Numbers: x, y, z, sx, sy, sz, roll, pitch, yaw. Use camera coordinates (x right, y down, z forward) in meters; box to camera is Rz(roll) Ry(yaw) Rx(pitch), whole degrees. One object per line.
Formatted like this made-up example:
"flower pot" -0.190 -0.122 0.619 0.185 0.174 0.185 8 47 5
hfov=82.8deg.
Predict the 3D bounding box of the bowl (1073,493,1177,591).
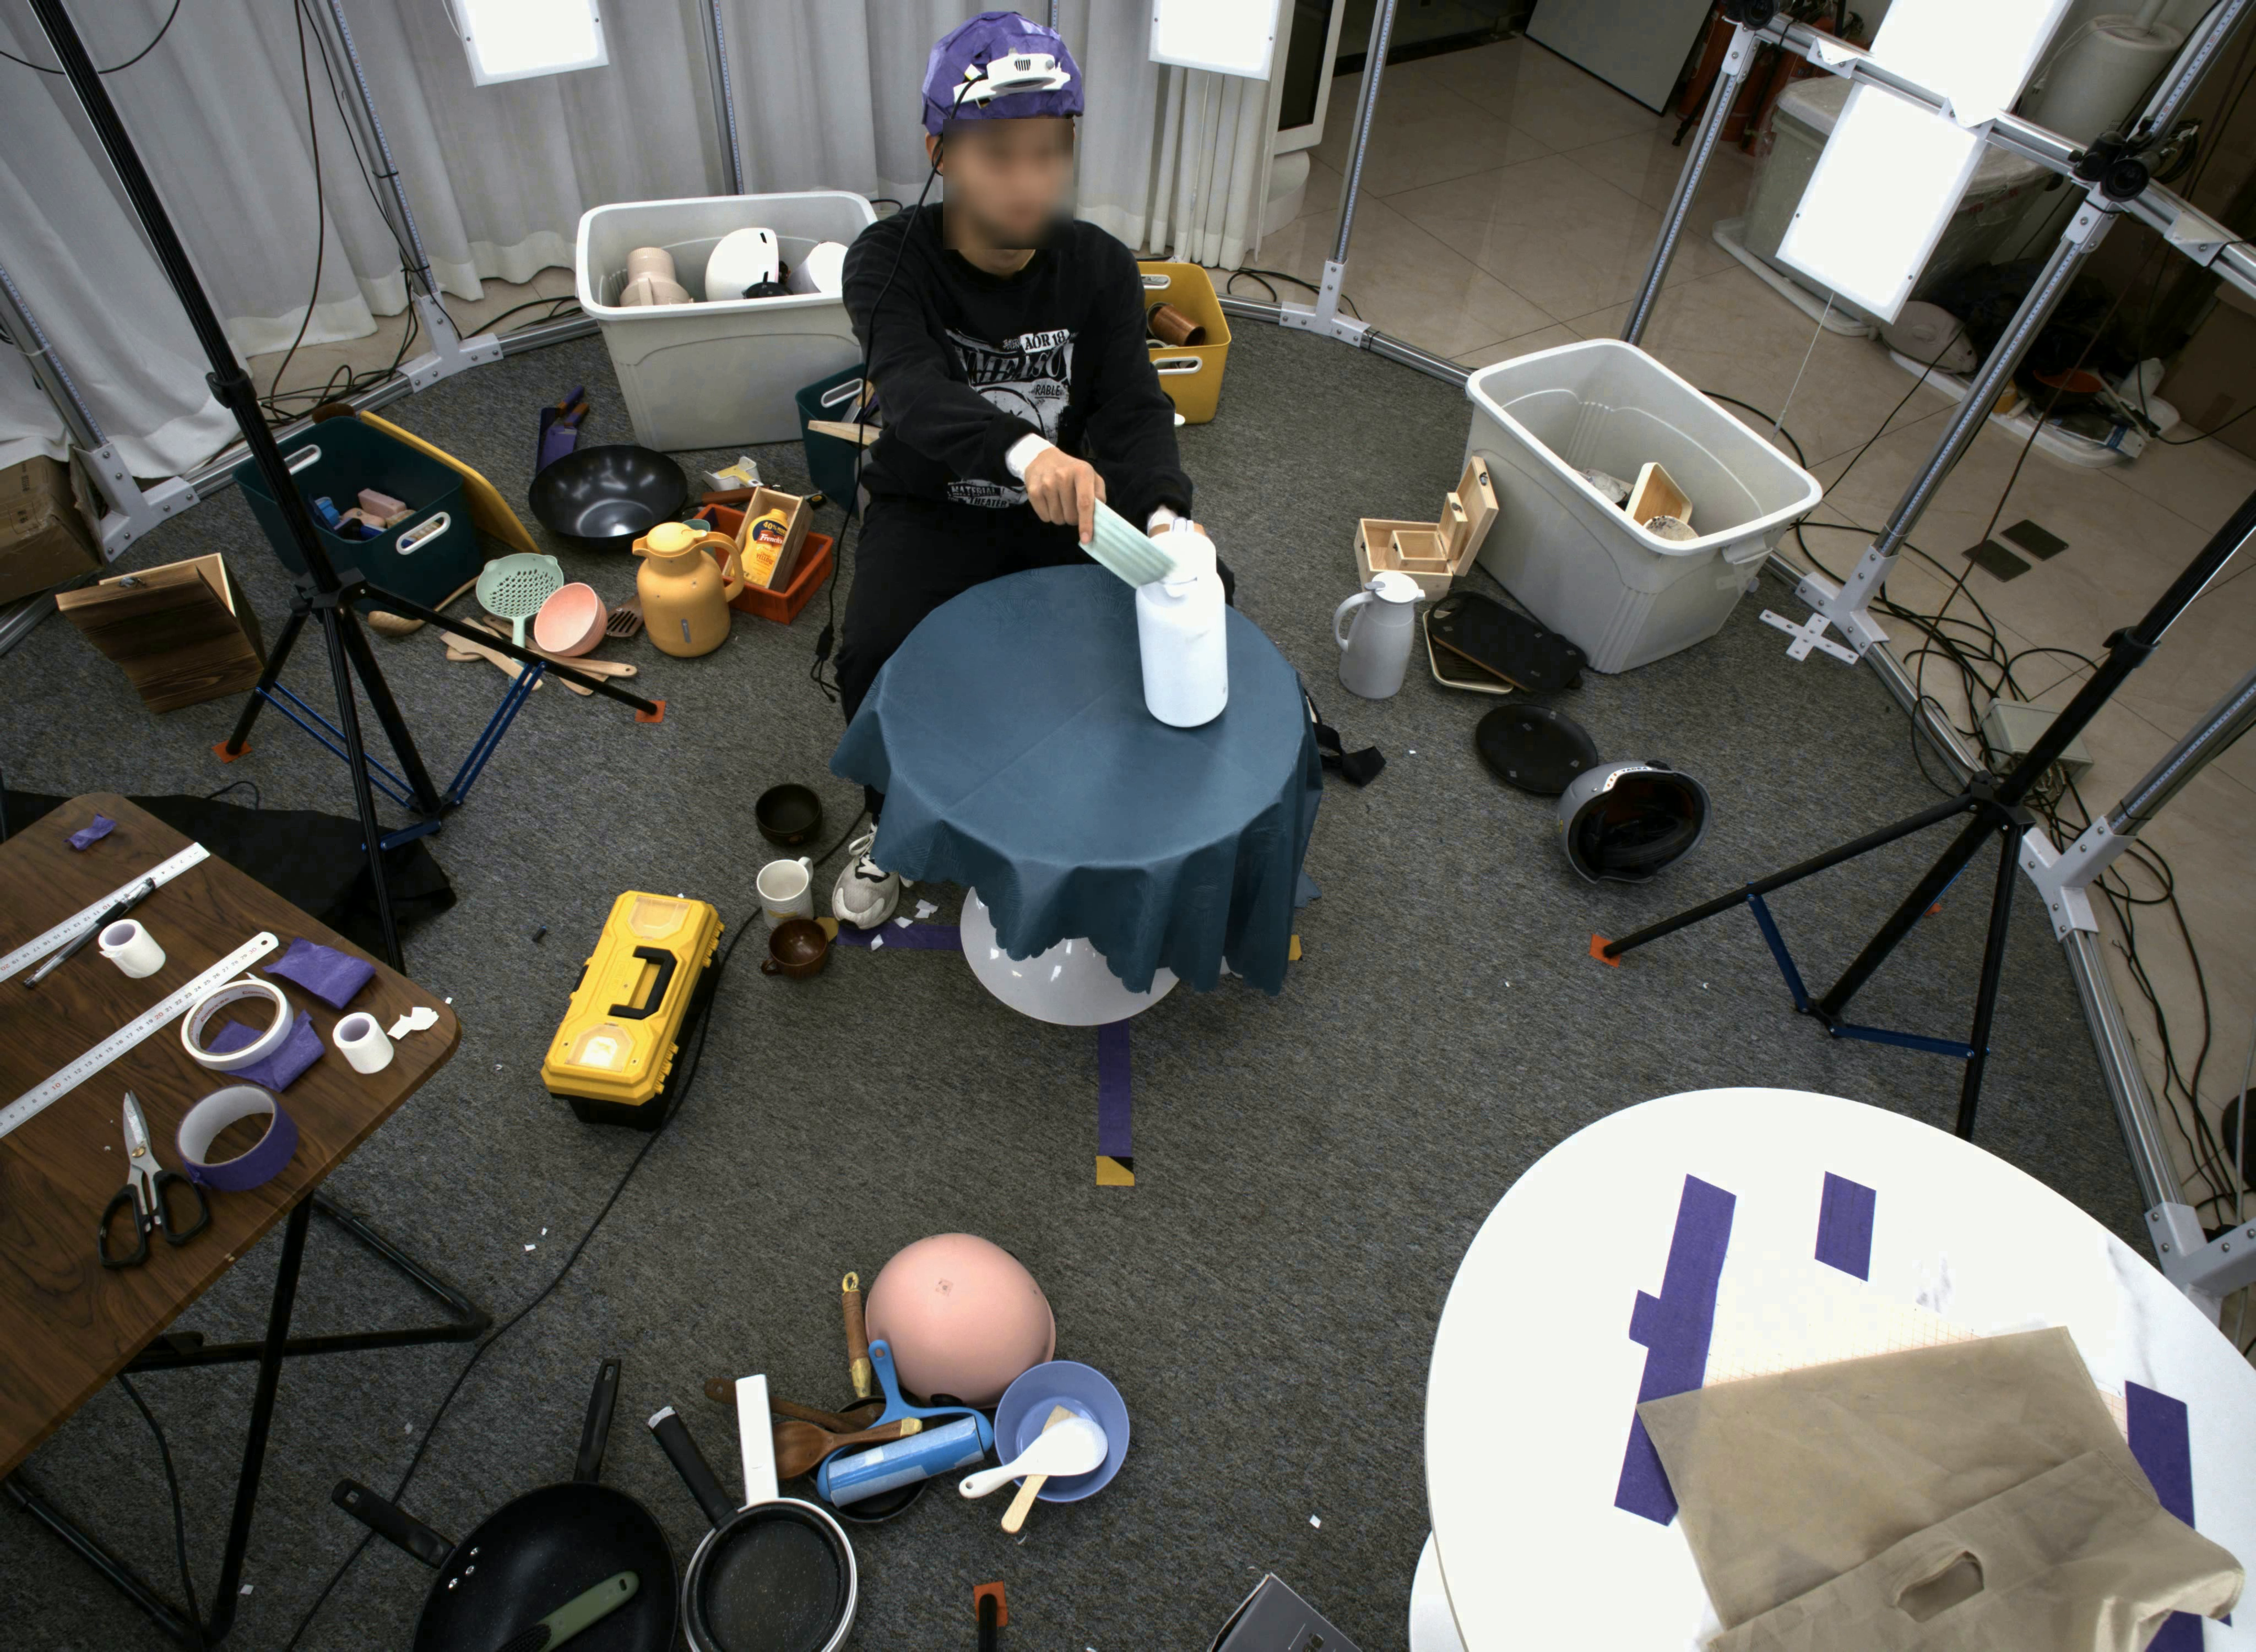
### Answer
"bowl" -0.014 -0.333 1.542 0.154 0.150 0.058 42 102 27

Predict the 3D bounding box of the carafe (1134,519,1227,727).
"carafe" 0.072 -0.275 1.735 0.124 0.262 0.177 -2 50 8
